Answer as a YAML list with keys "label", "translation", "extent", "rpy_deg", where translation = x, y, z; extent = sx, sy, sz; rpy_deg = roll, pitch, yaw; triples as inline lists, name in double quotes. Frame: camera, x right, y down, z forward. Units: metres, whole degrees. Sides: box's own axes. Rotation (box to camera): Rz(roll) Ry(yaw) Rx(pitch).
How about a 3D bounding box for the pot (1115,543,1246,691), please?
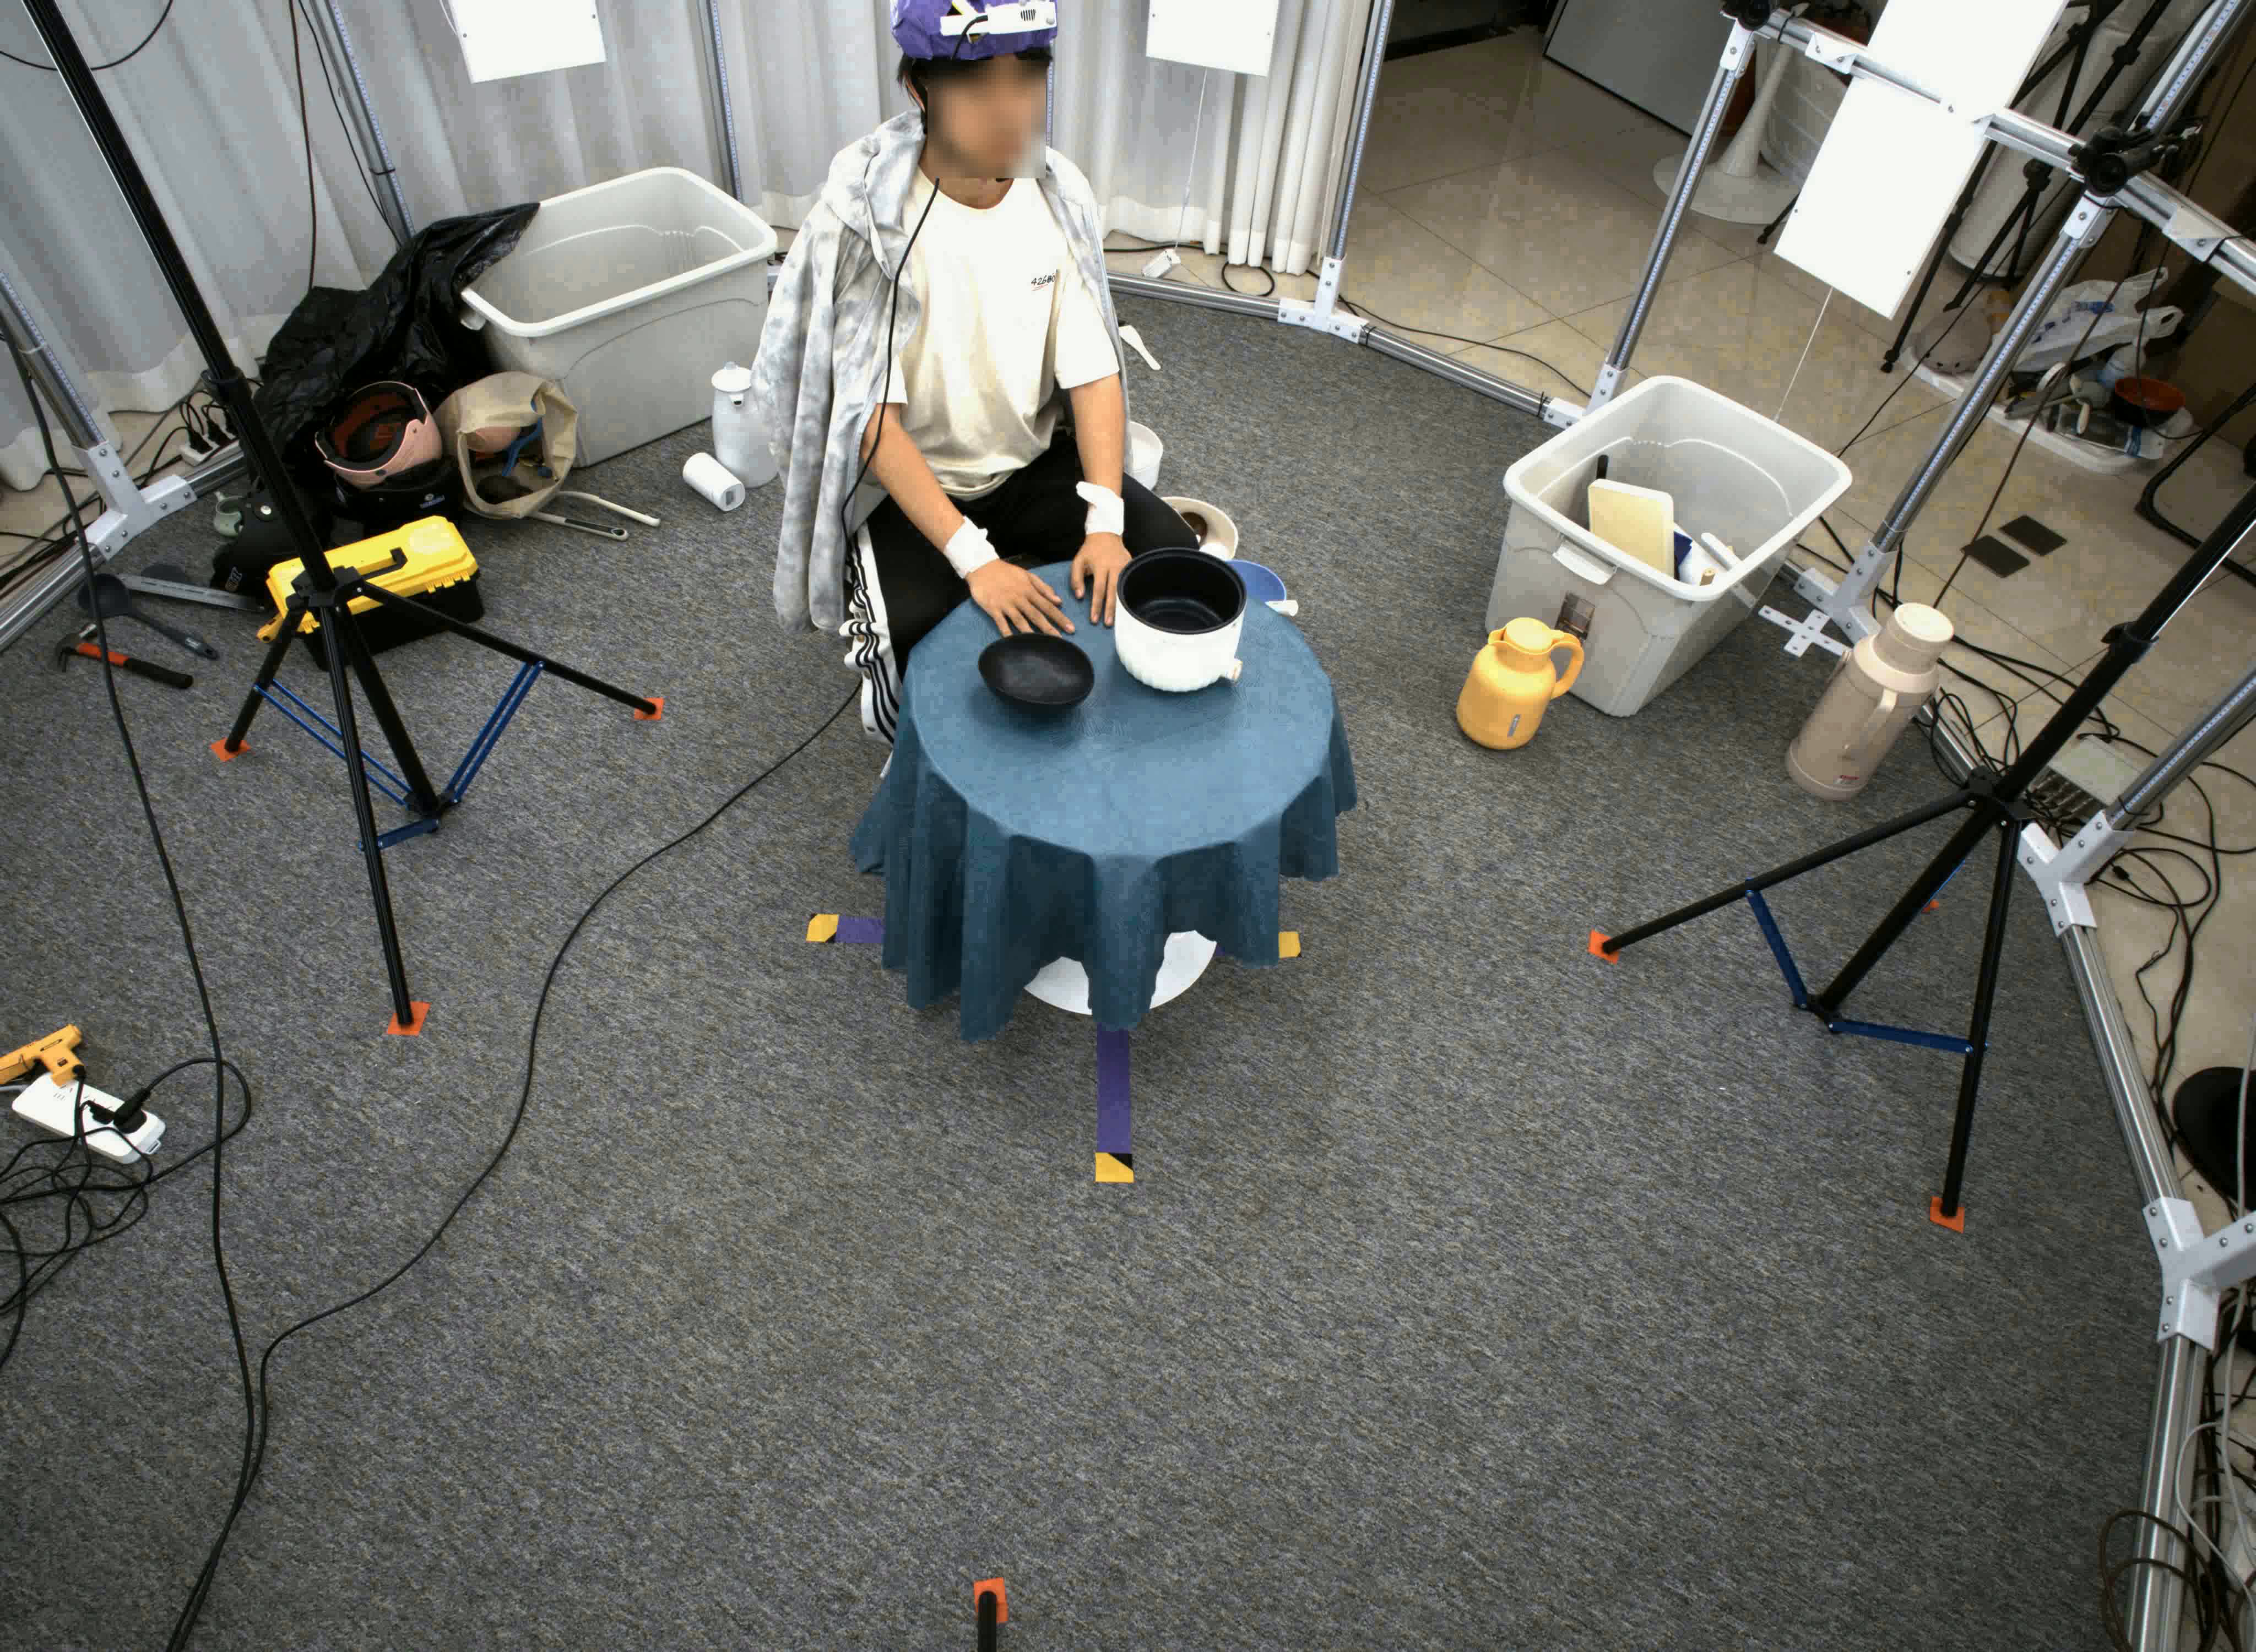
- label: "pot"
  translation: [0.076, -0.286, 1.826]
  extent: [0.192, 0.139, 0.244]
  rpy_deg: [21, 51, 18]

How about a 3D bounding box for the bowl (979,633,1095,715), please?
- label: "bowl"
  translation: [-0.129, -0.200, 1.785]
  extent: [0.171, 0.065, 0.139]
  rpy_deg: [23, 49, 17]
